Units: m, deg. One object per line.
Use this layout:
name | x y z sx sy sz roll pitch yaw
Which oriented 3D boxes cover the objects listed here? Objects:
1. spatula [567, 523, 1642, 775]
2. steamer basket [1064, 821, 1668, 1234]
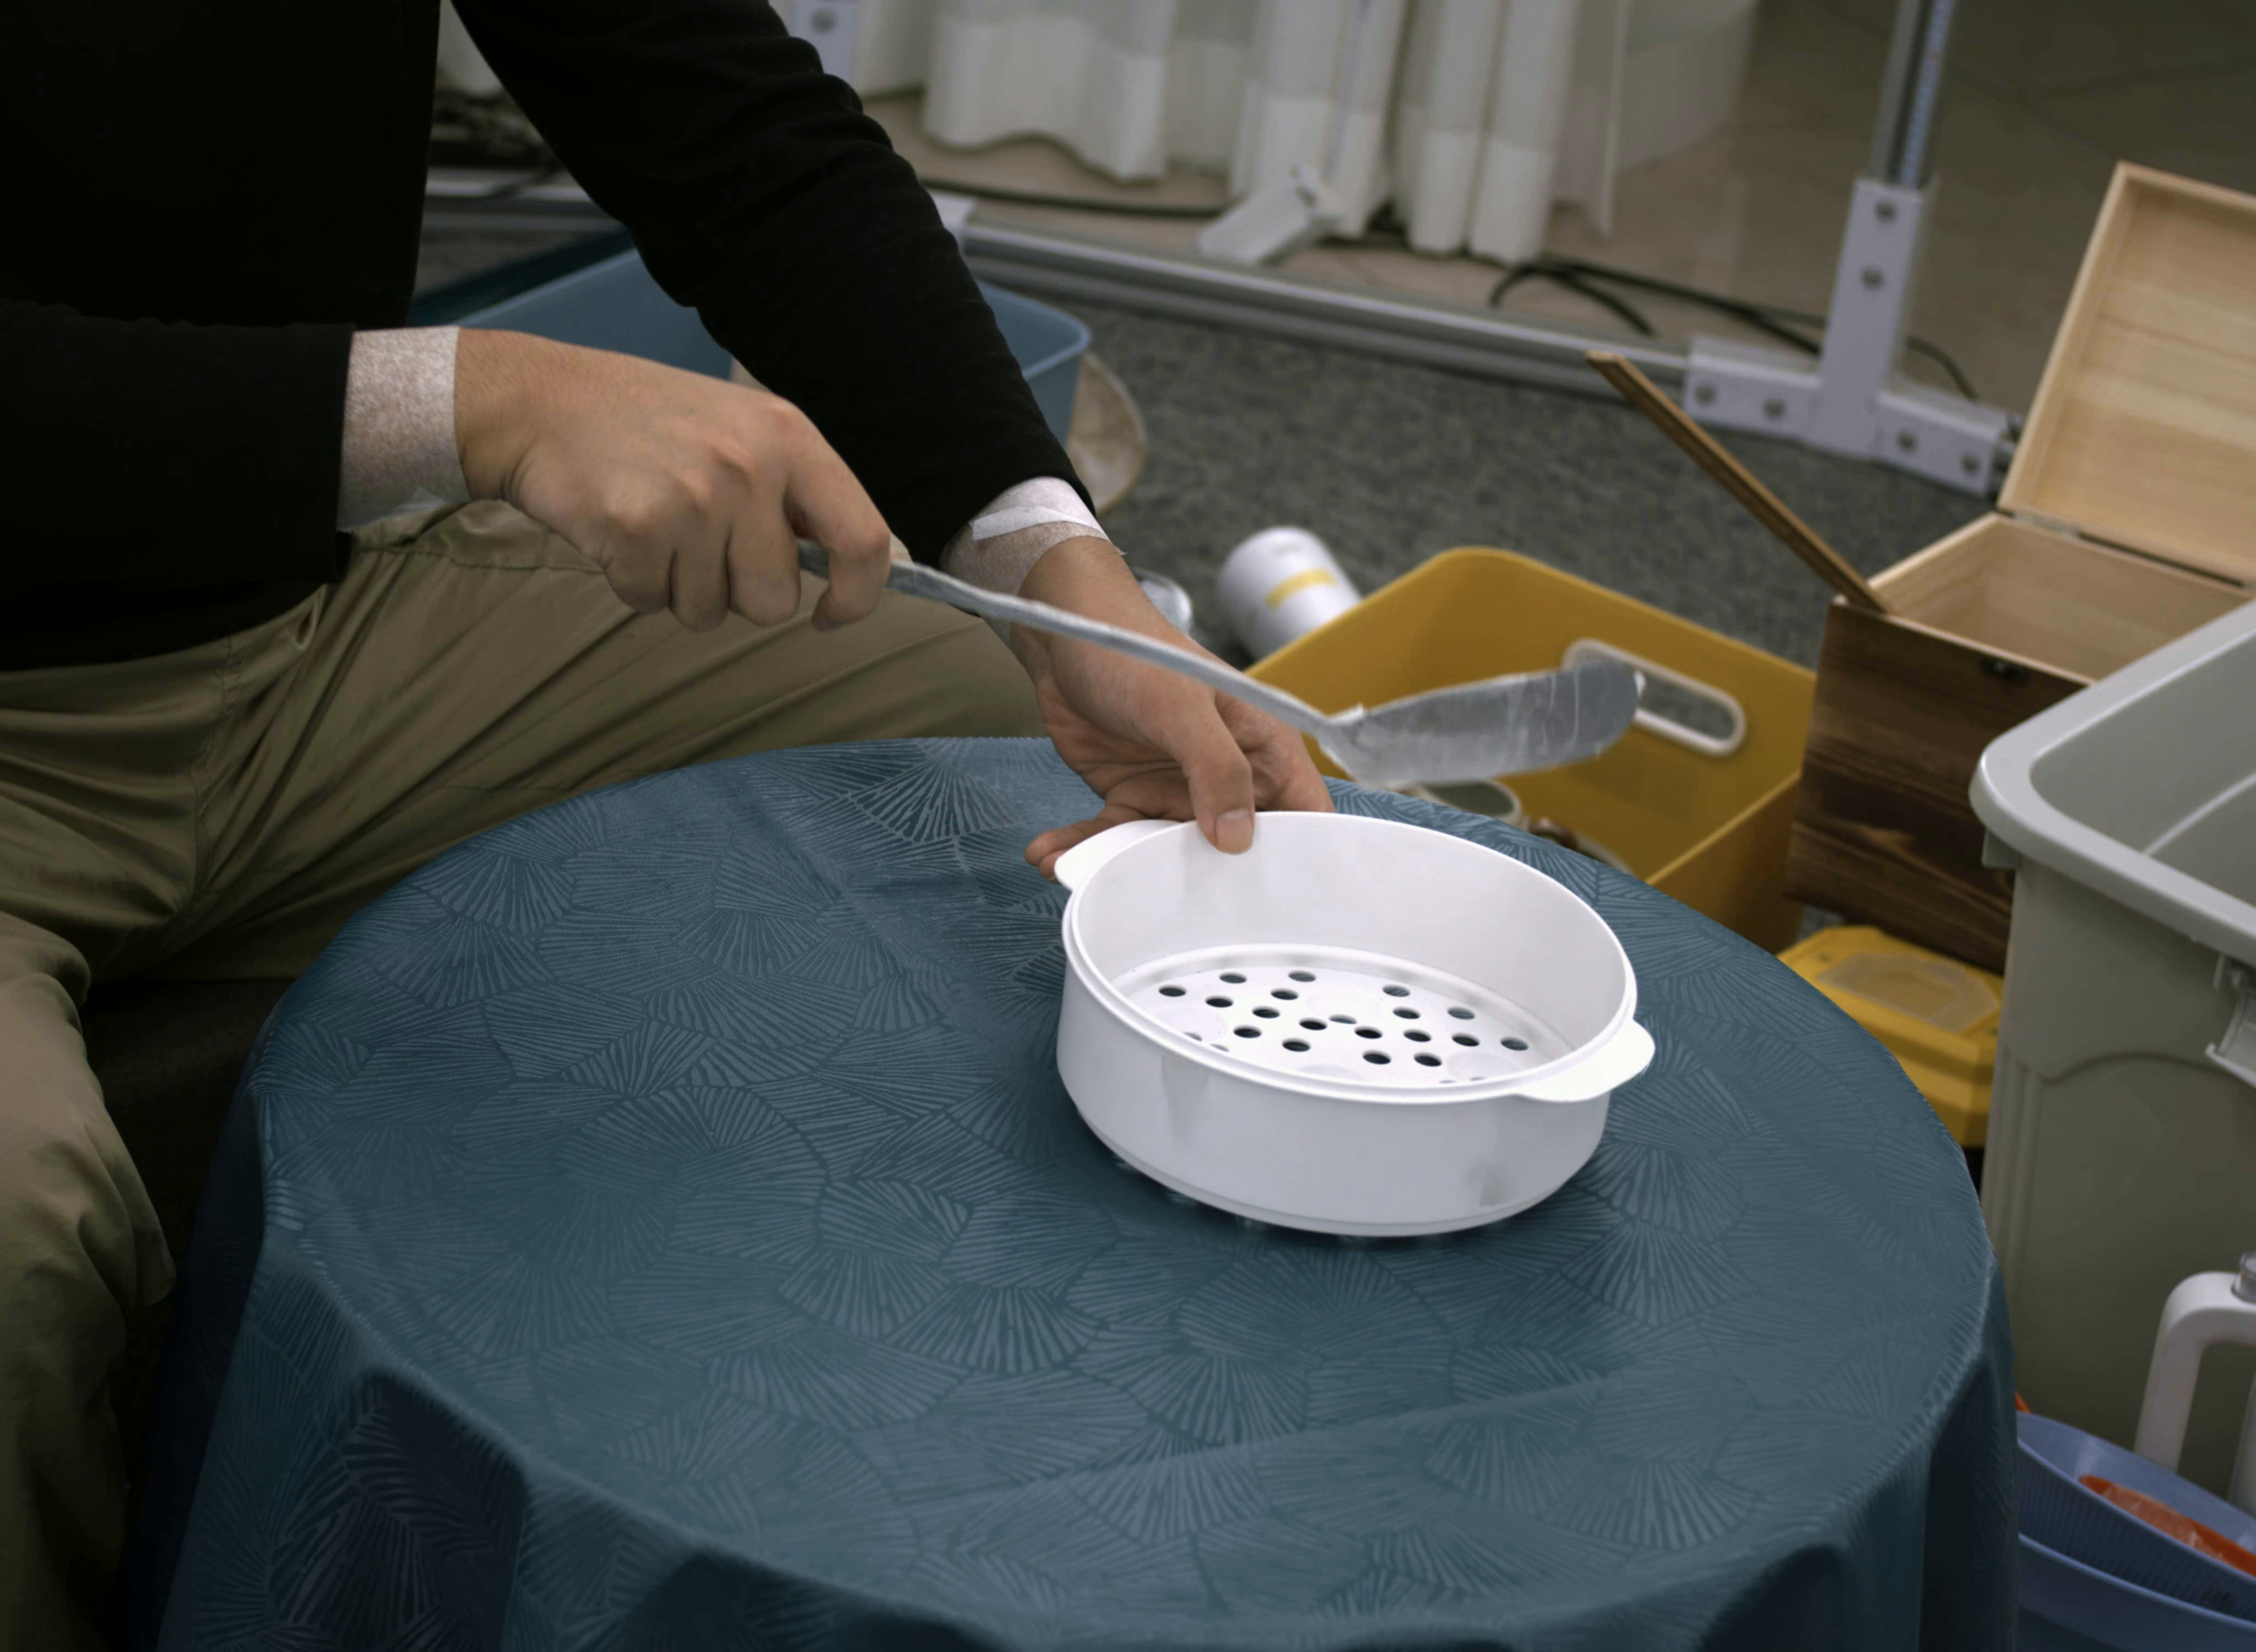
spatula | -0.008 -0.069 1.797 0.364 0.098 0.045 15 70 -1
steamer basket | 0.077 0.070 1.847 0.232 0.069 0.201 23 30 31
